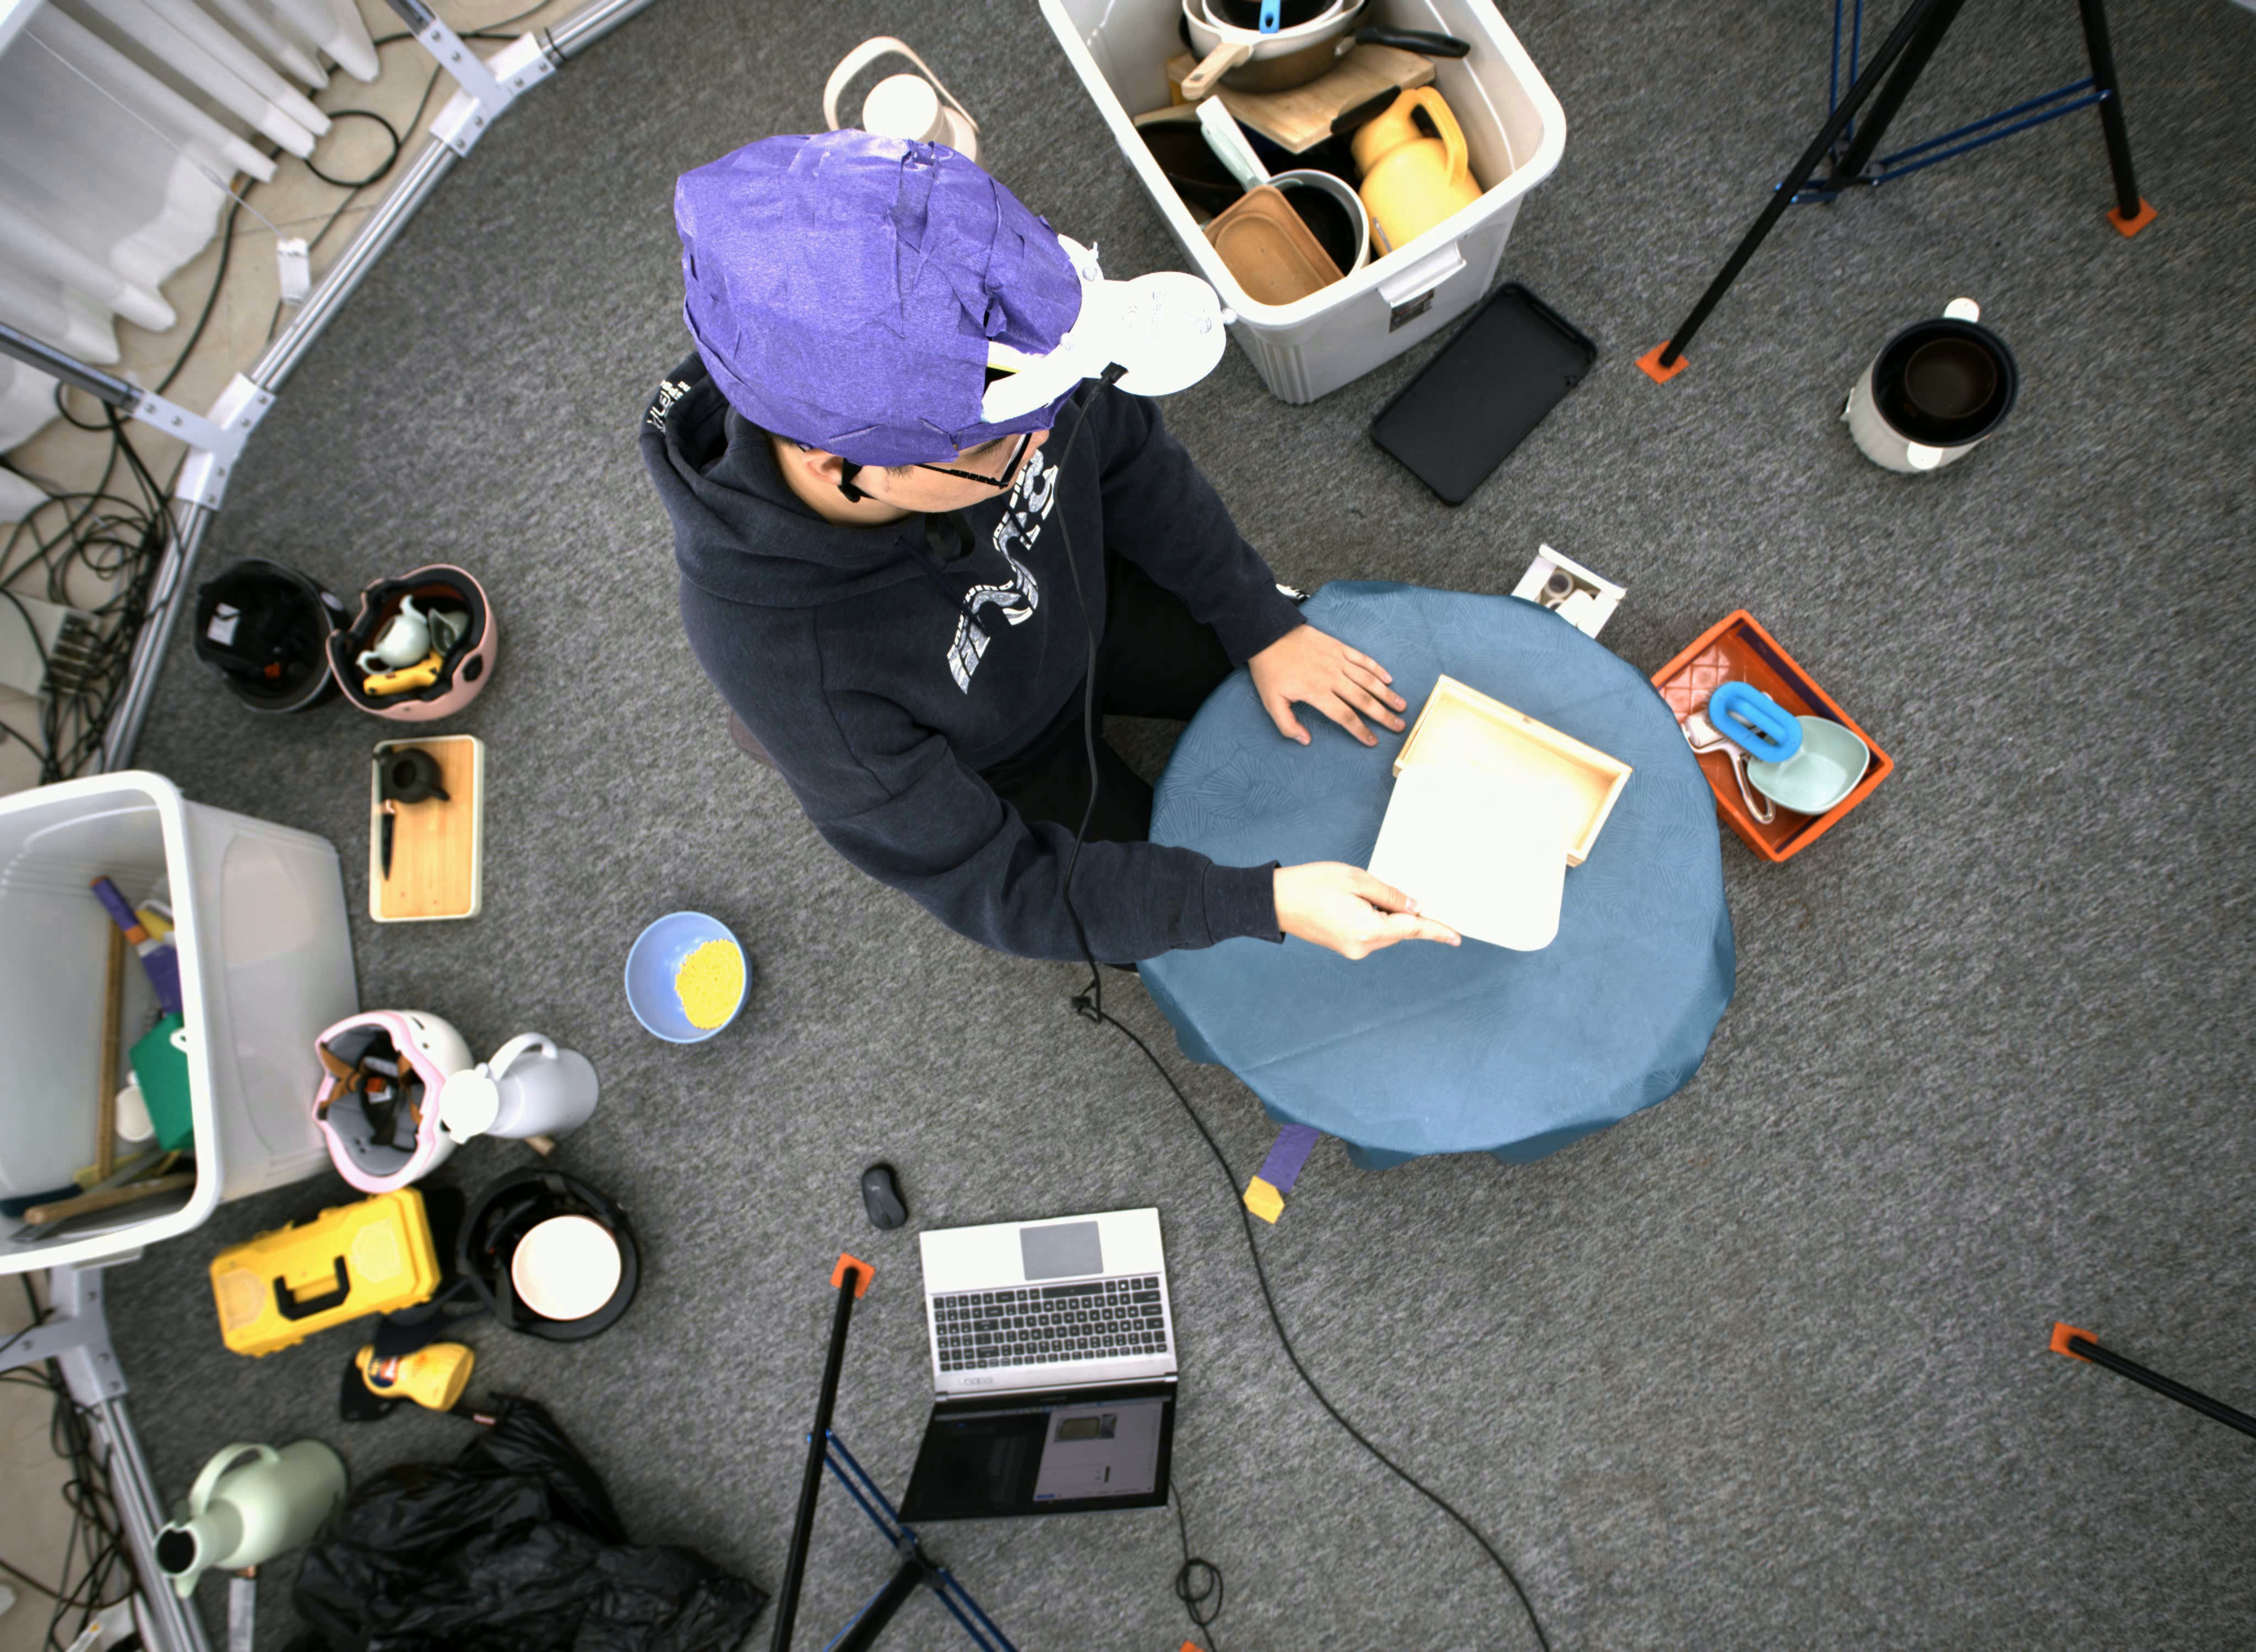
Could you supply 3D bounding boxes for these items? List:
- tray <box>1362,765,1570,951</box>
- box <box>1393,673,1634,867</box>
[{"bbox_3d":[0.314,0.024,1.264,0.171,0.233,0.018,15,129,13],"label":"tray"},{"bbox_3d":[0.390,-0.059,1.405,0.211,0.080,0.107,28,90,11],"label":"box"}]
